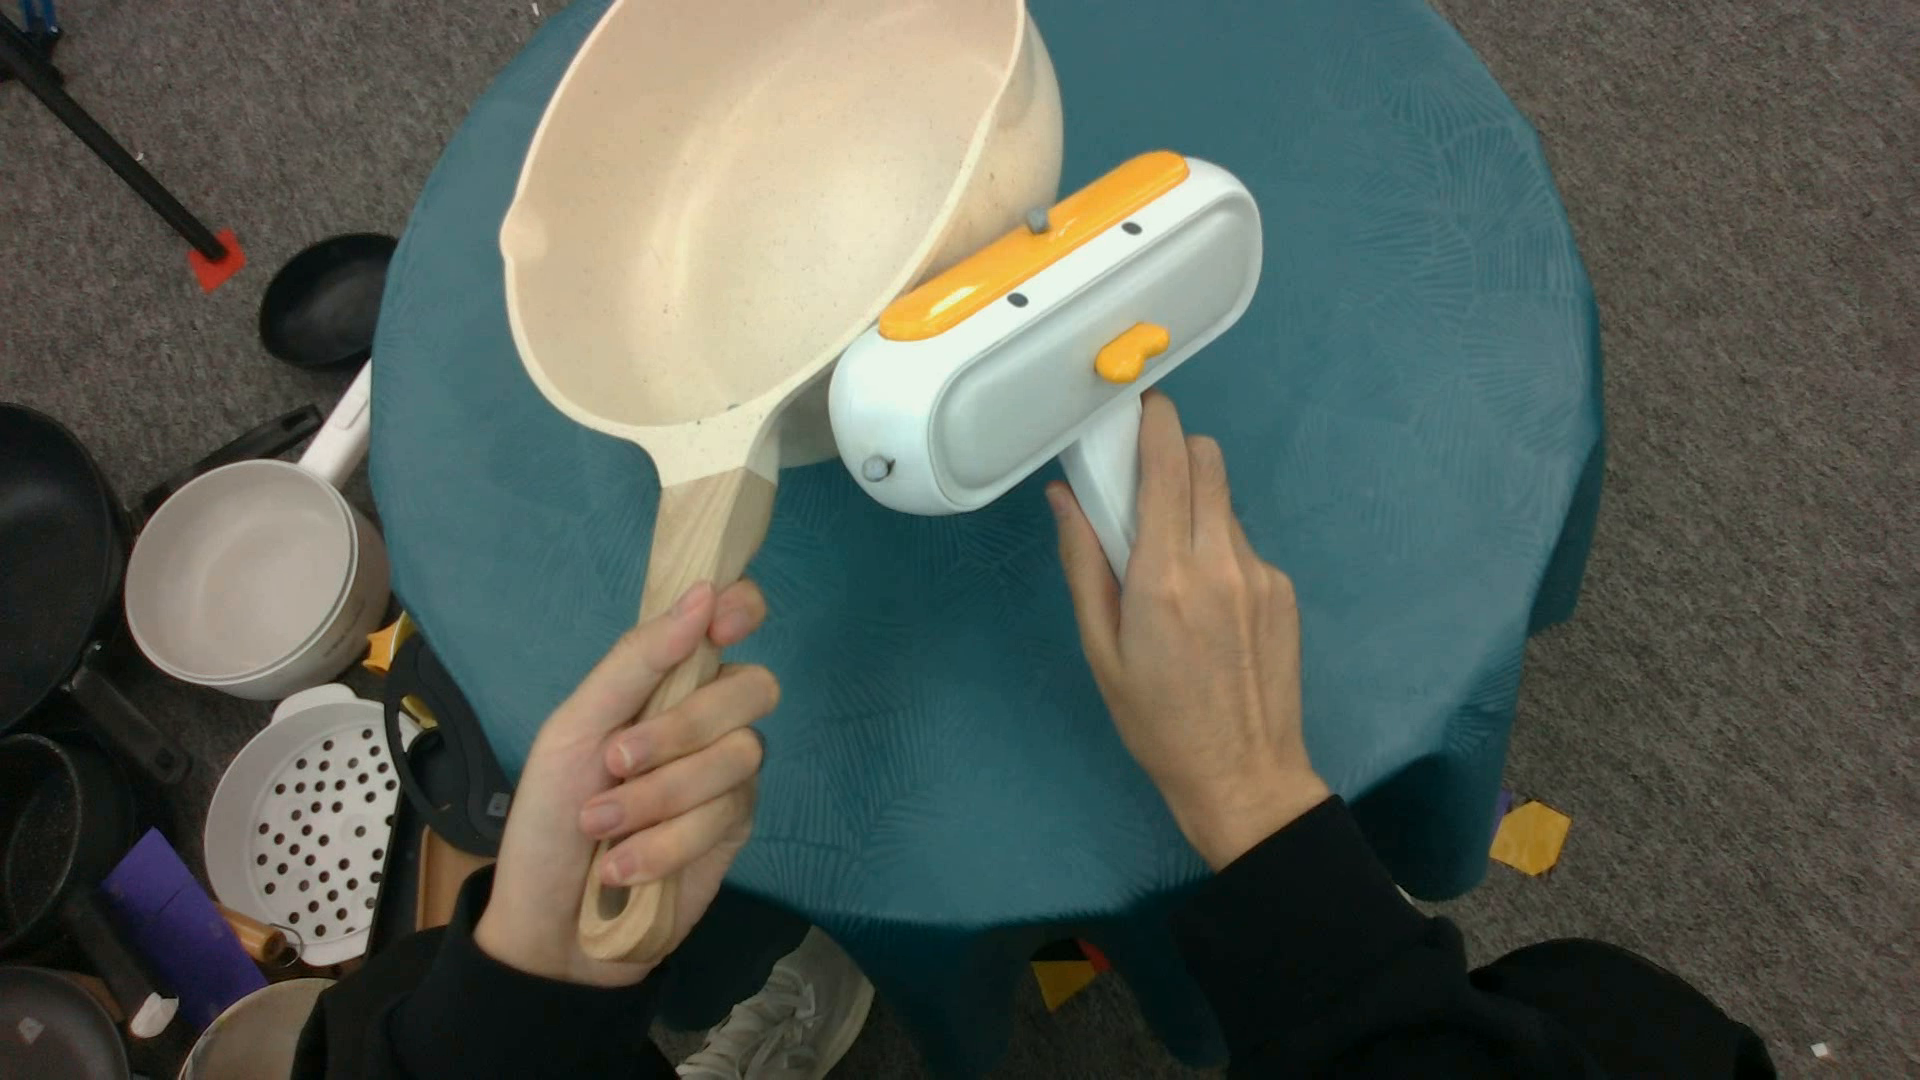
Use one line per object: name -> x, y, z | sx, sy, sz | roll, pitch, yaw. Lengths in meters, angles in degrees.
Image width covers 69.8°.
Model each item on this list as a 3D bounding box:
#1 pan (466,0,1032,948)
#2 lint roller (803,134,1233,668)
pan -> -0.084, -0.065, 0.533 | 0.262, 0.102, 0.436 | -13, 65, 26
lint roller -> 0.051, -0.033, 0.519 | 0.074, 0.192, 0.194 | 12, 47, 44
